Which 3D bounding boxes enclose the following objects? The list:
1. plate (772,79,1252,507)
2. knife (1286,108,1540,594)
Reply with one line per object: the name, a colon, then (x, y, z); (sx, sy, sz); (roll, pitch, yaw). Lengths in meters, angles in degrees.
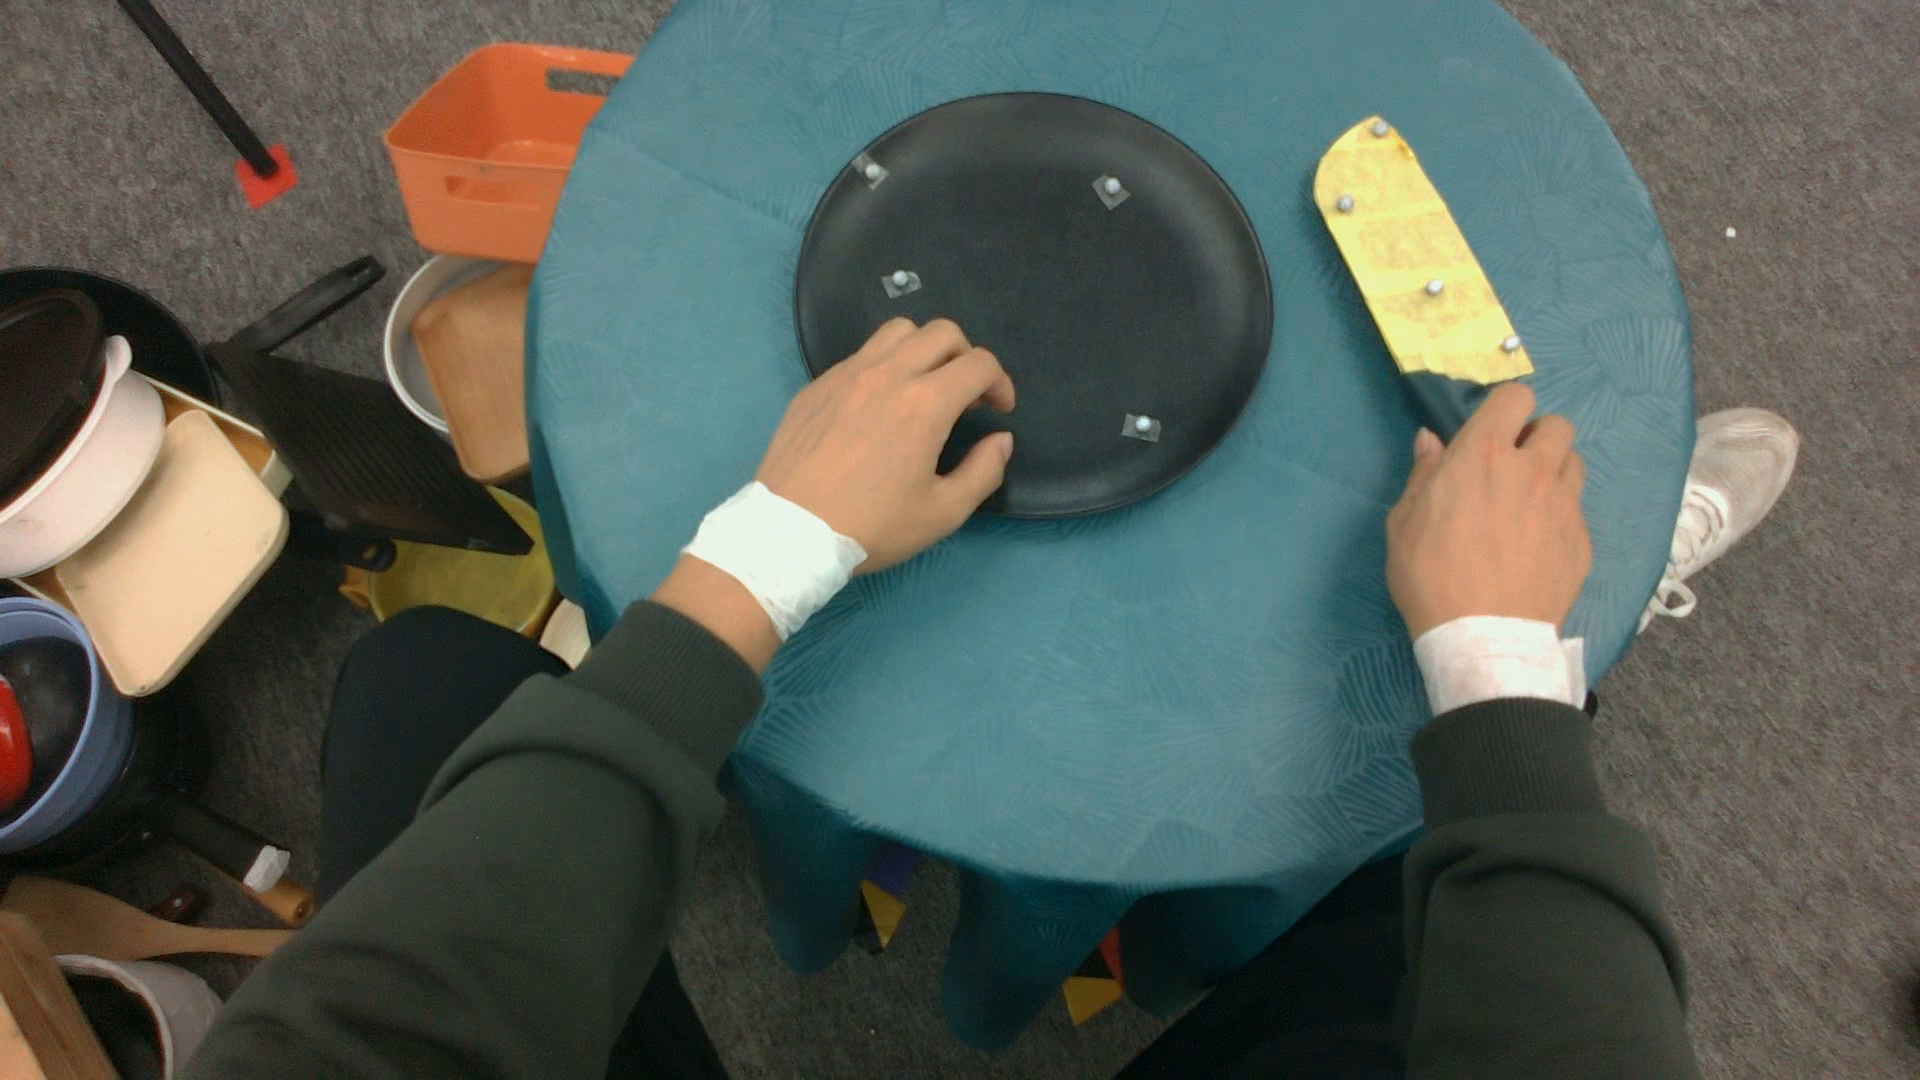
plate: (0.027, -0.129, 0.704); (0.244, 0.023, 0.245); (1, 70, -3)
knife: (0.236, -0.107, 0.703); (0.081, 0.027, 0.290); (-9, 68, -16)
